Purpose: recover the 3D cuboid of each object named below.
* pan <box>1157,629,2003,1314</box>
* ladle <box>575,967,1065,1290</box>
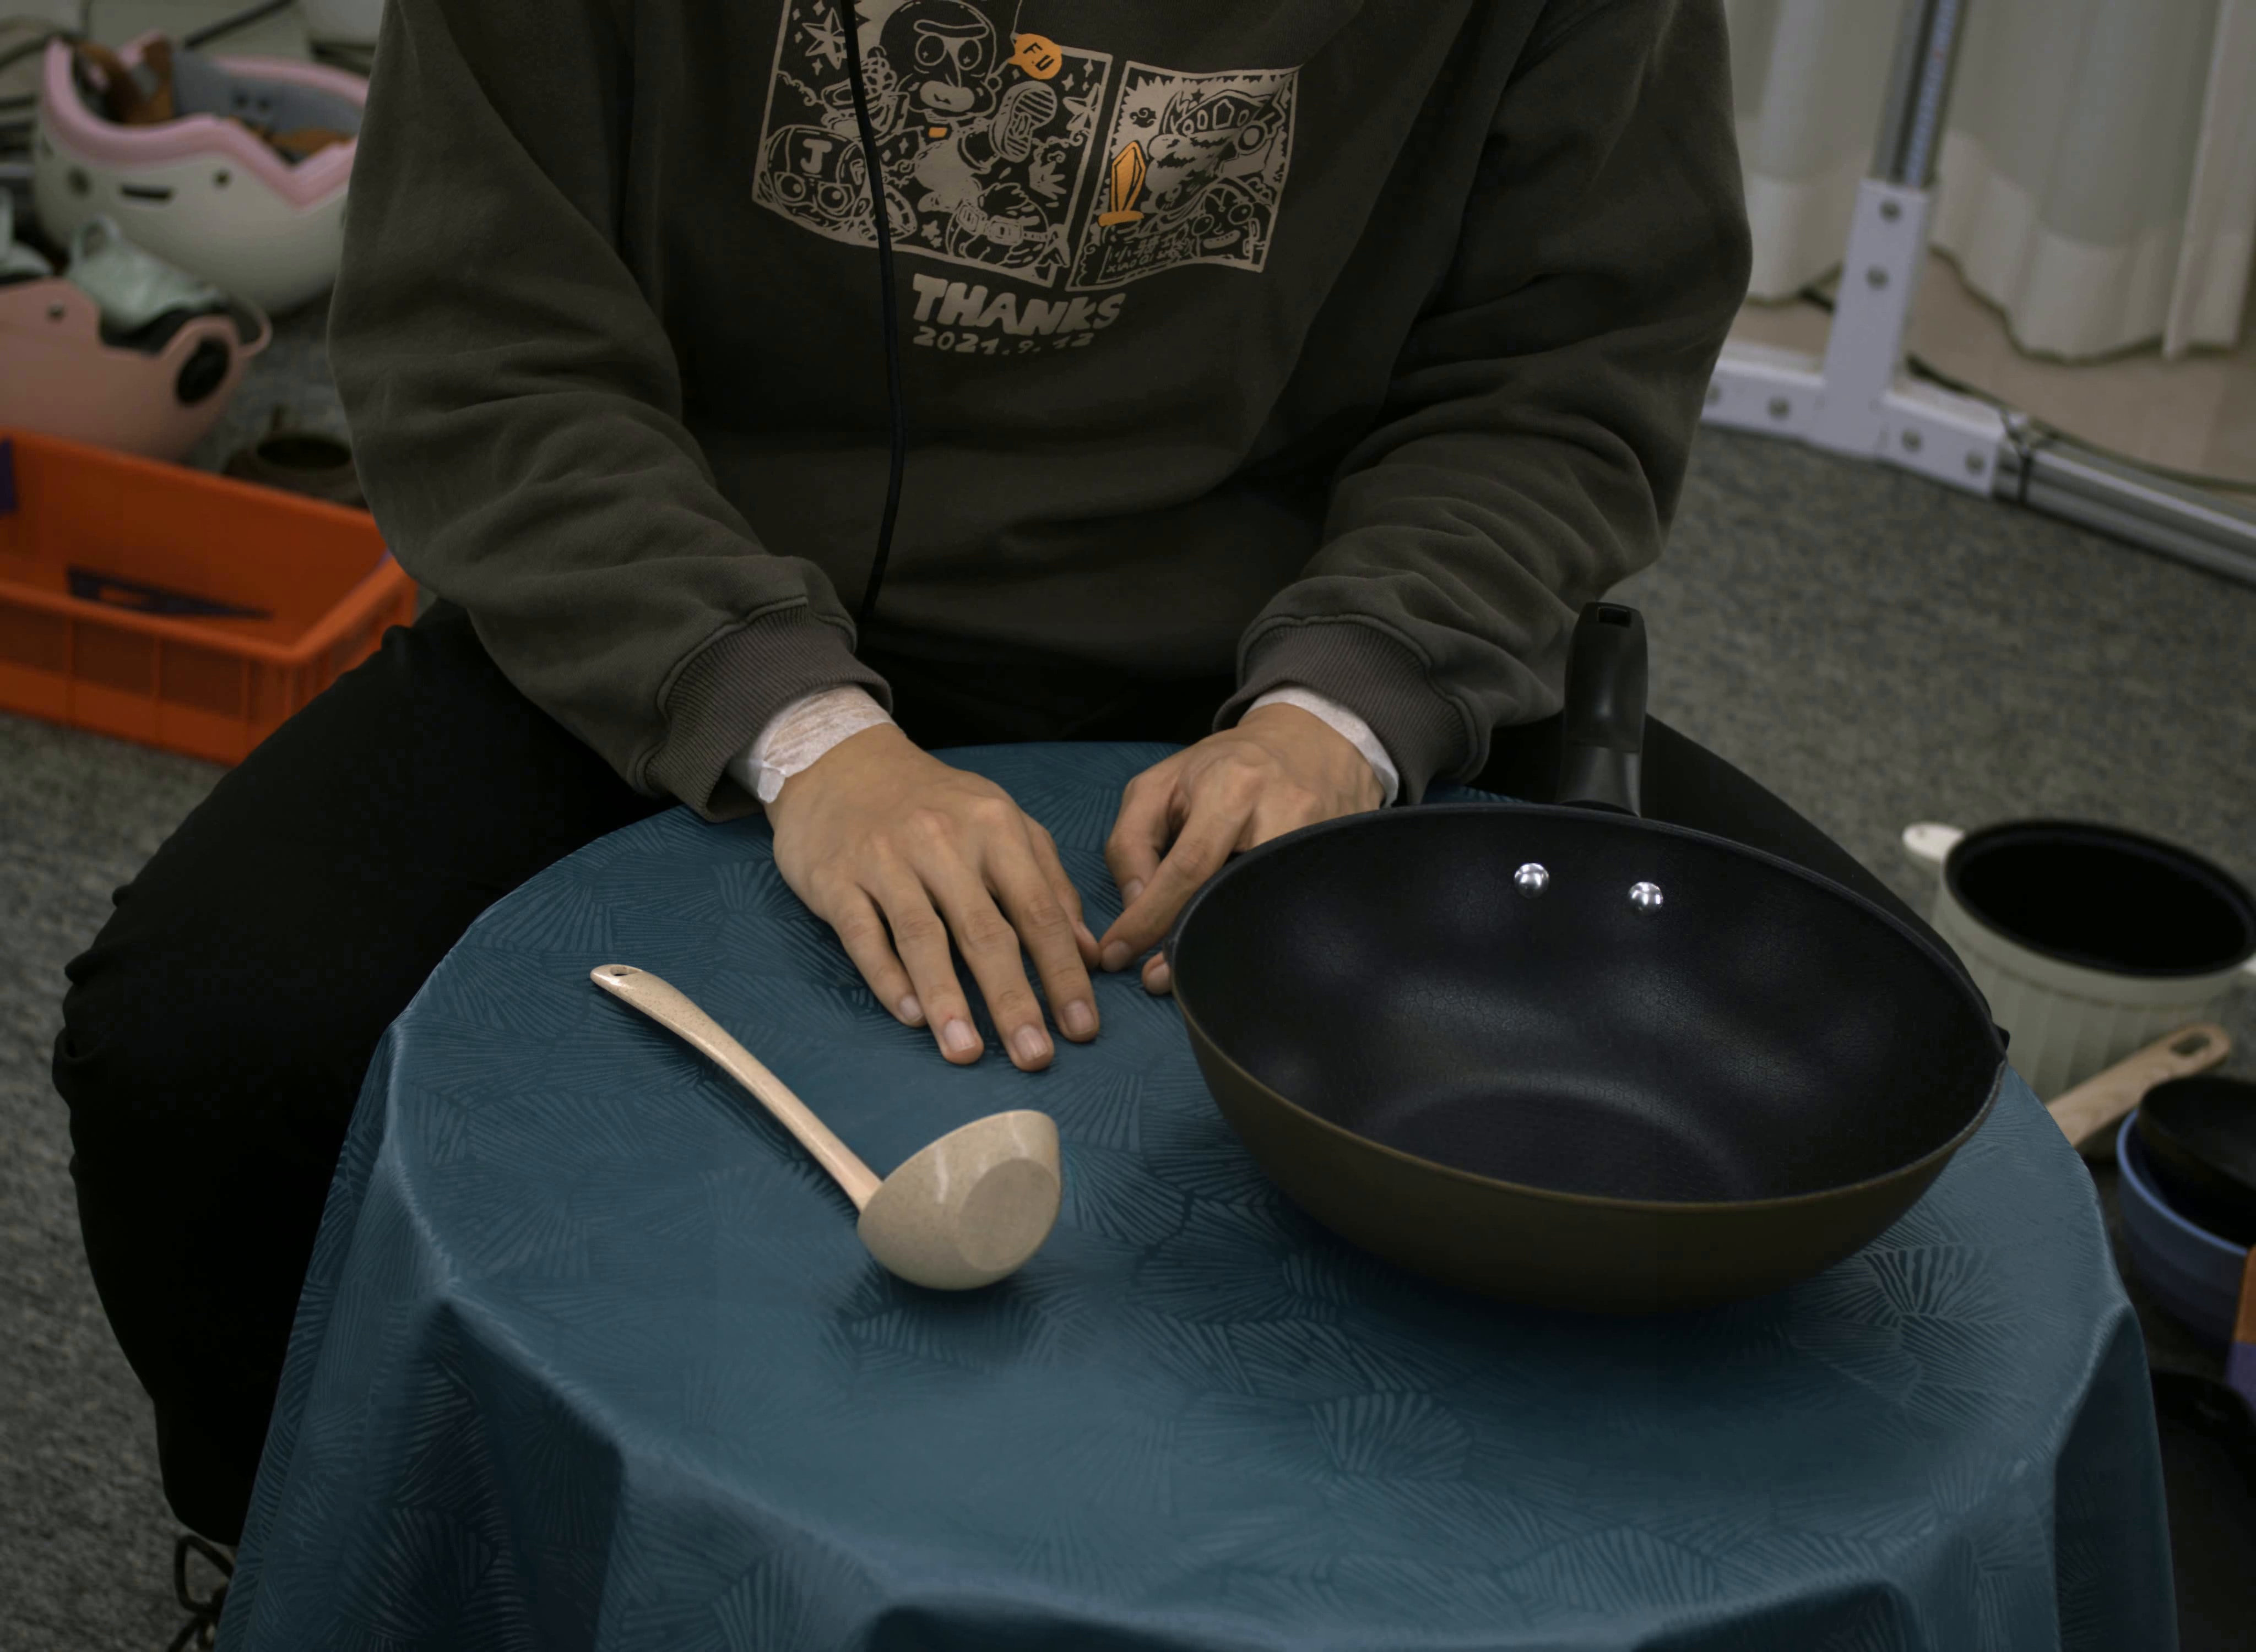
[{"bbox_3d":[0.158,0.051,1.892,0.287,0.086,0.465,8,25,4],"label":"pan"},{"bbox_3d":[-0.115,0.075,1.794,0.072,0.072,0.256,-19,36,-33],"label":"ladle"}]
